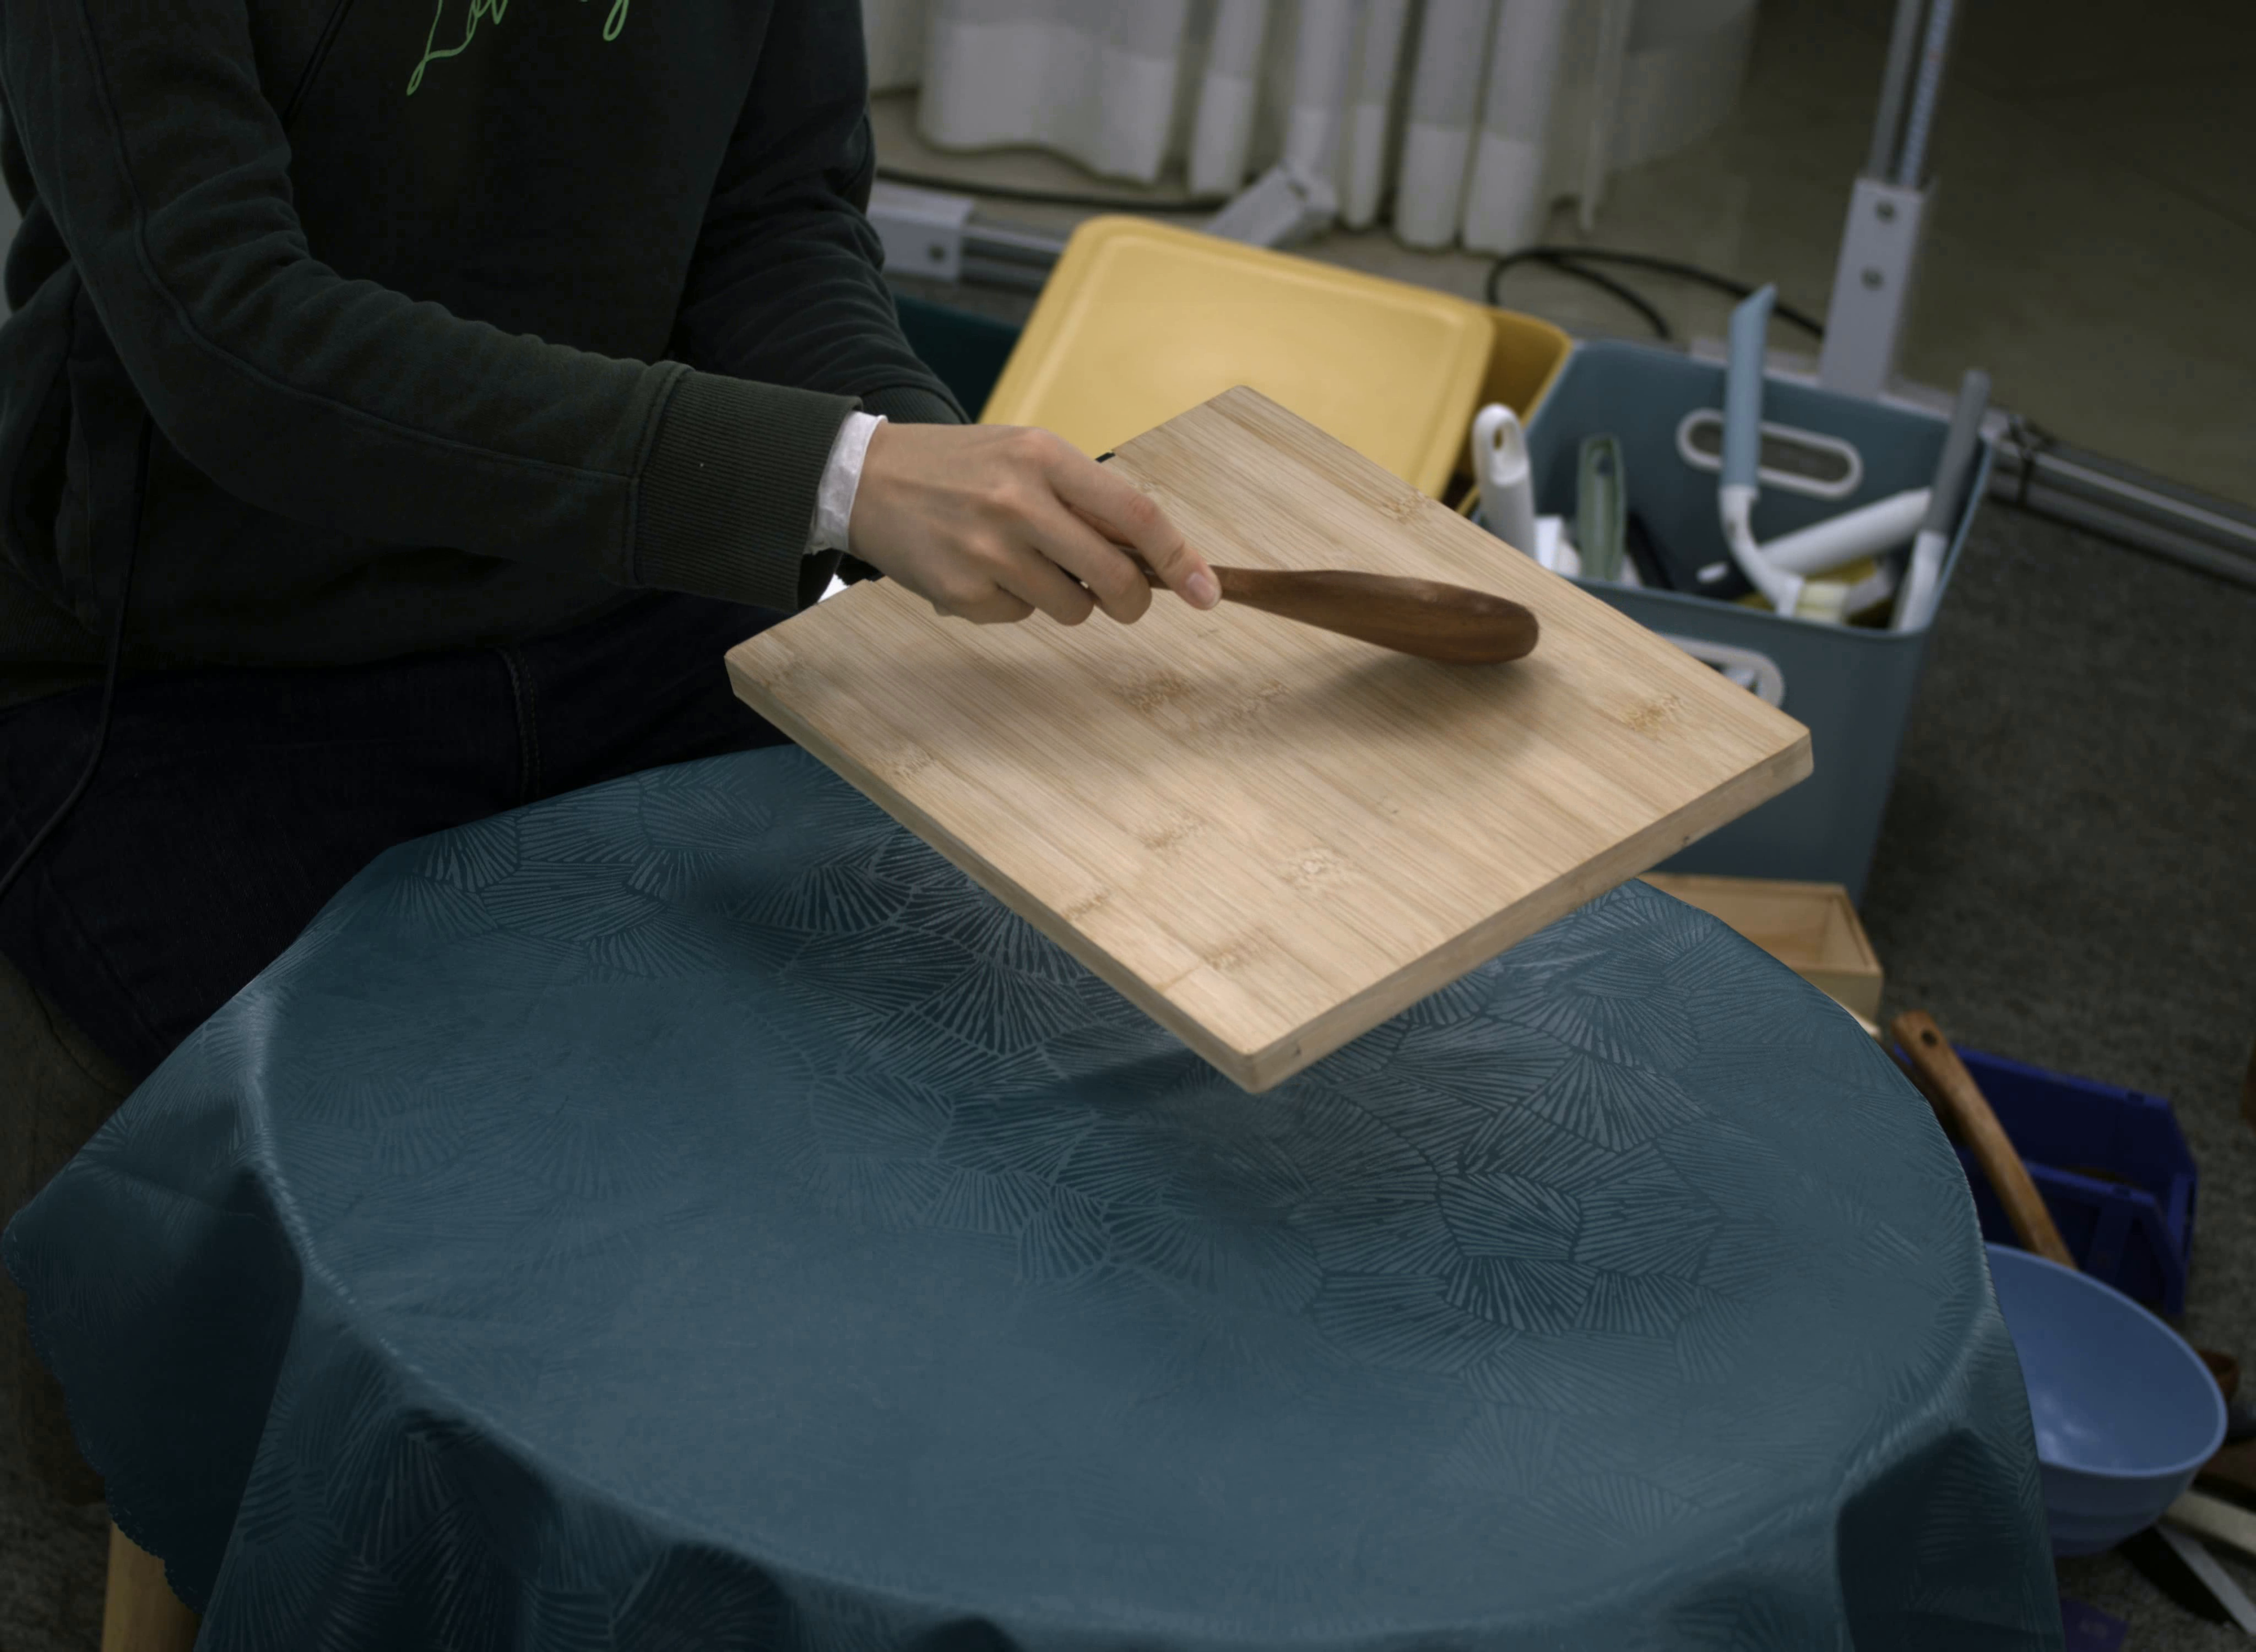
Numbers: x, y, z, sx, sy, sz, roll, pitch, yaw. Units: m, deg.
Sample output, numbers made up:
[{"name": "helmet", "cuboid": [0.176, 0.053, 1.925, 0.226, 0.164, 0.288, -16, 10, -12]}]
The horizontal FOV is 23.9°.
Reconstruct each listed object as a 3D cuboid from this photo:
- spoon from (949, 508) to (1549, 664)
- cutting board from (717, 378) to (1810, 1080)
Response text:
[{"name": "spoon", "cuboid": [0.040, -0.082, 1.854, 0.216, 0.017, 0.075, 12, -8, 13]}, {"name": "cutting board", "cuboid": [0.040, -0.043, 1.888, 0.250, 0.023, 0.352, -29, 38, -23]}]
